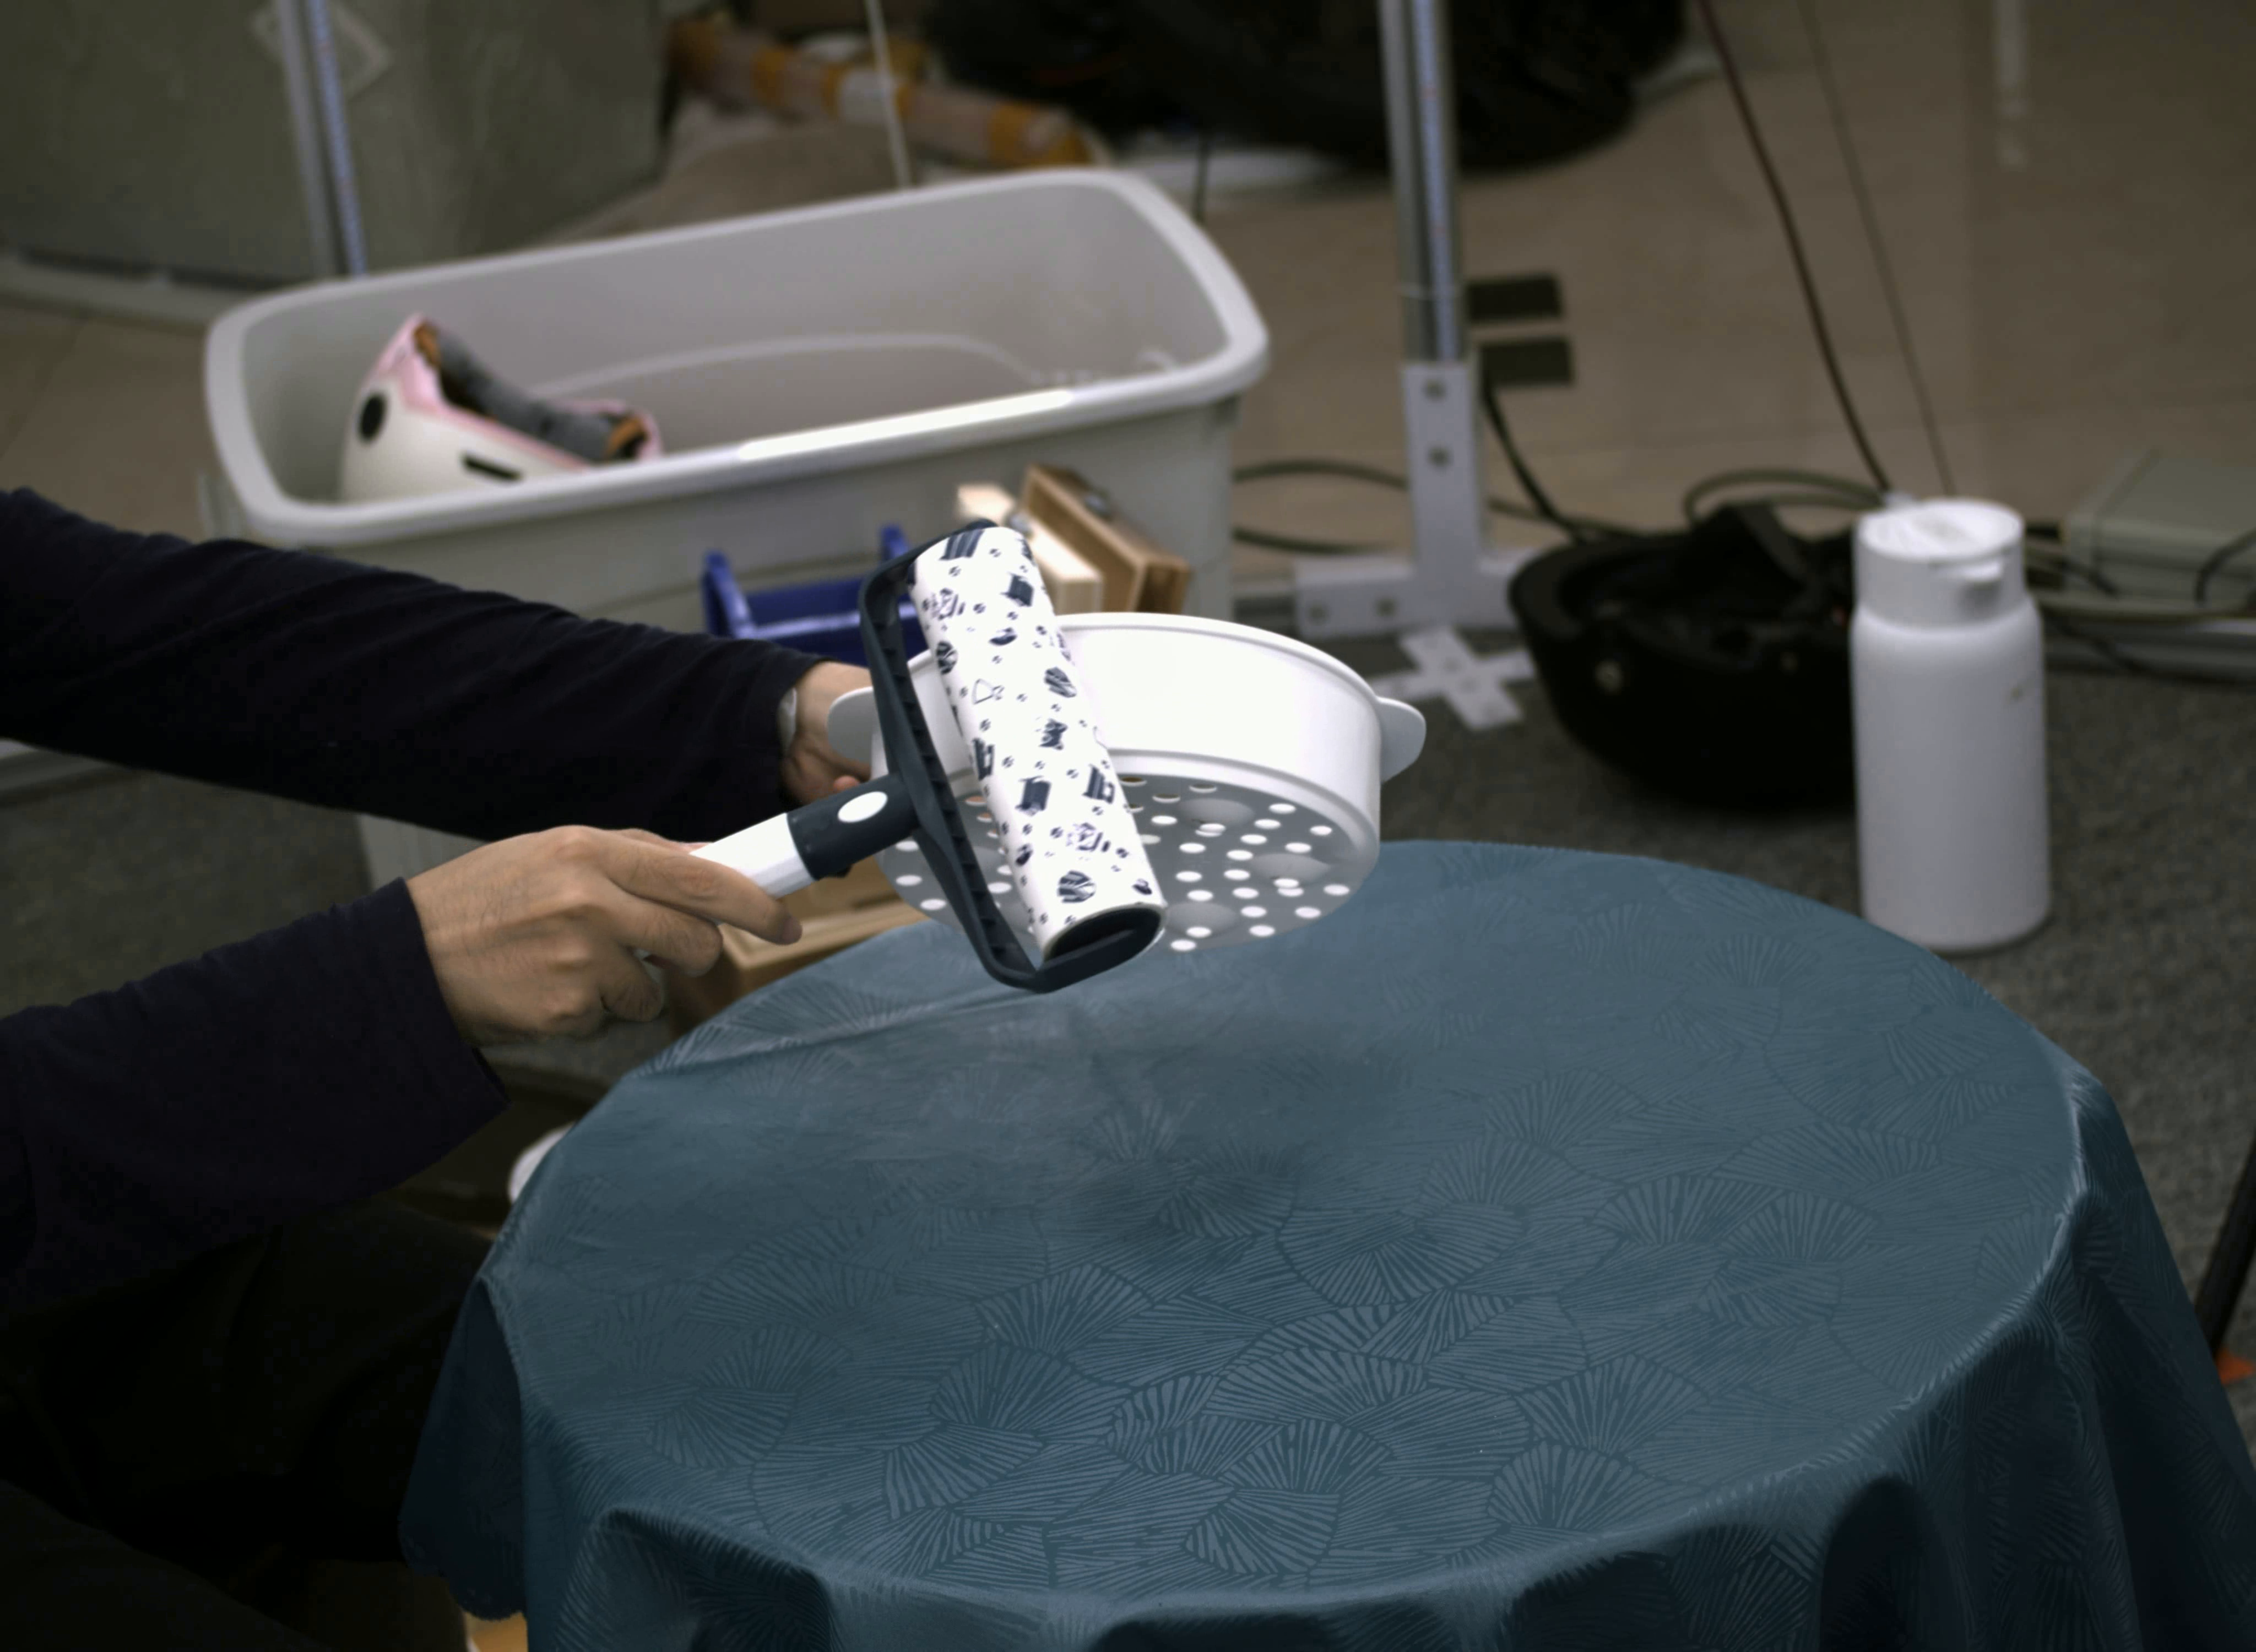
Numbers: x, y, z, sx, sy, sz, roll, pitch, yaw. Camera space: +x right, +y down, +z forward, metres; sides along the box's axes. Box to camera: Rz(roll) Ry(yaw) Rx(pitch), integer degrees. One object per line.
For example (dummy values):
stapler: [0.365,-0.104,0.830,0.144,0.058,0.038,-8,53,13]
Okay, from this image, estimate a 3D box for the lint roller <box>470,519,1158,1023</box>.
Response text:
lint roller: [-0.127,0.011,2.045,0.247,0.051,0.174,-24,69,5]

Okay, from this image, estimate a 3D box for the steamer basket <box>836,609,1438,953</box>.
steamer basket: [0.003,-0.012,2.155,0.230,0.204,0.068,1,68,-2]
